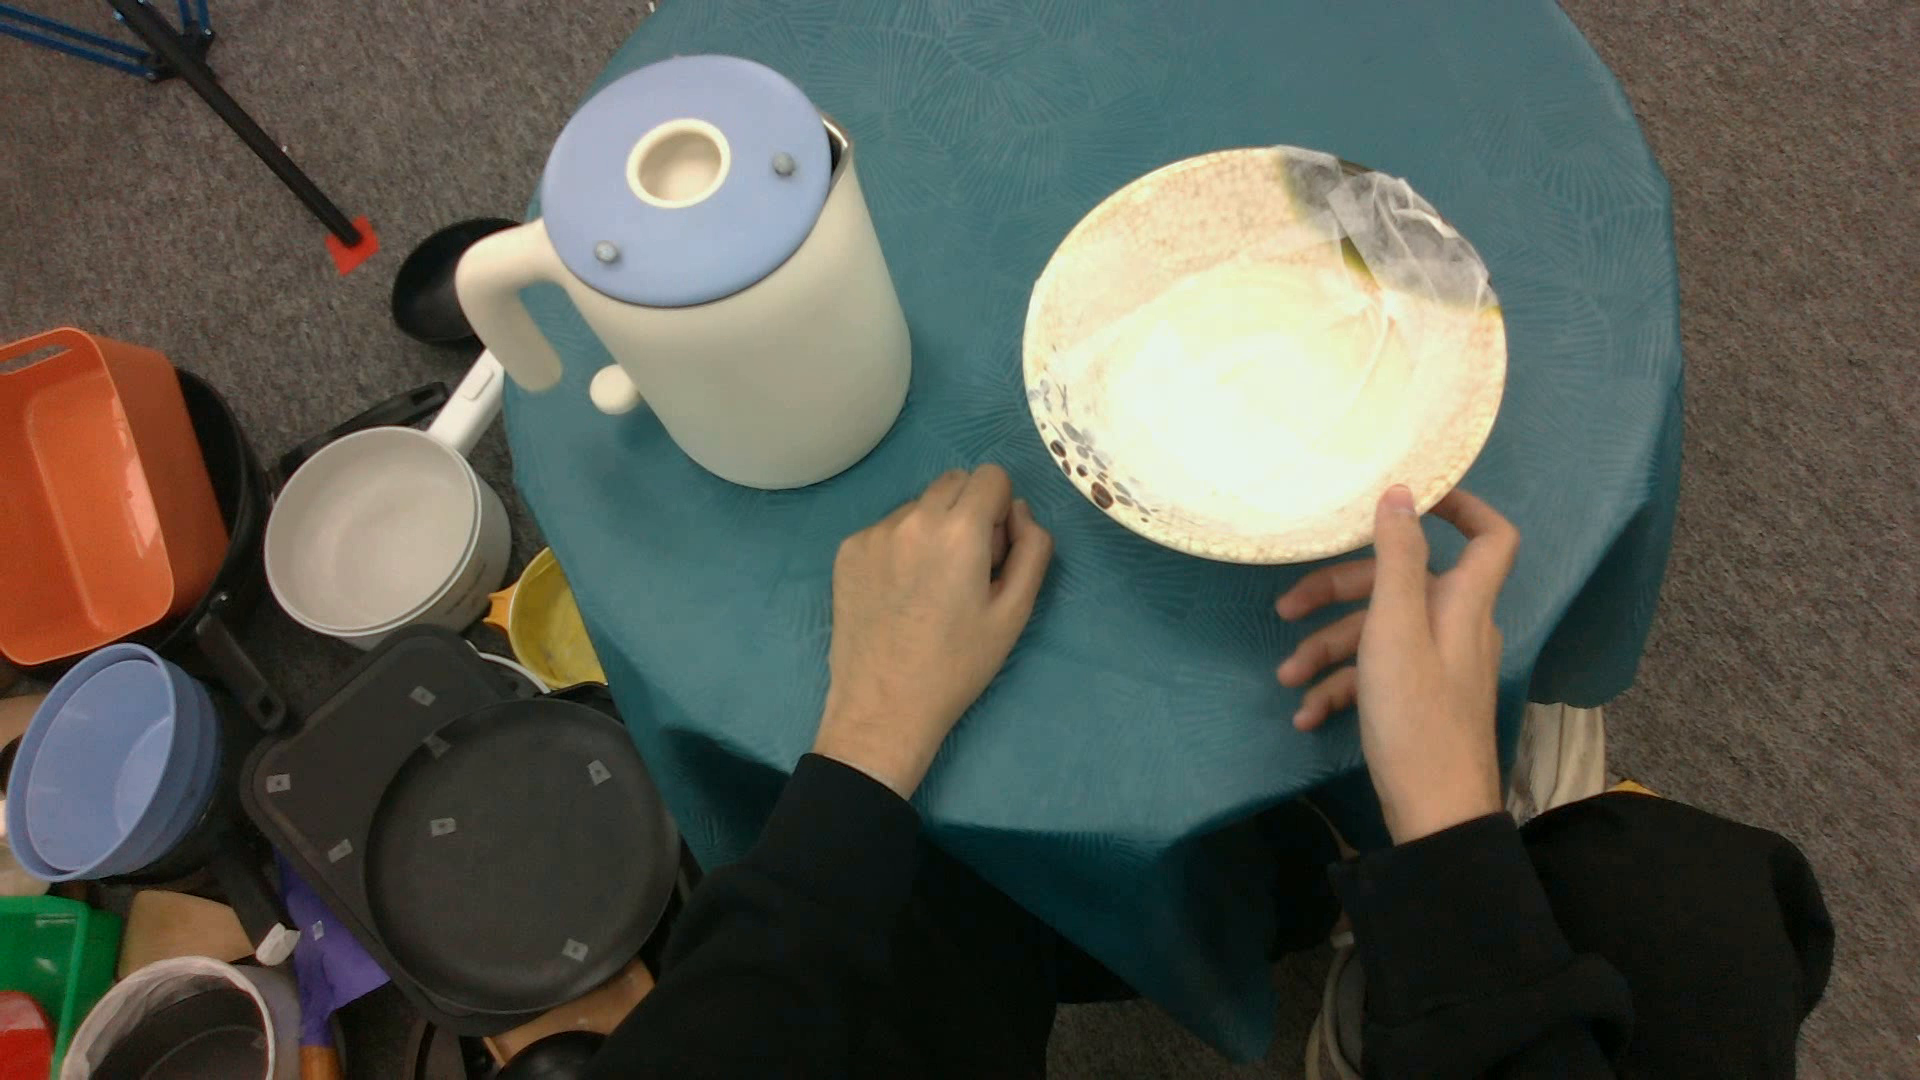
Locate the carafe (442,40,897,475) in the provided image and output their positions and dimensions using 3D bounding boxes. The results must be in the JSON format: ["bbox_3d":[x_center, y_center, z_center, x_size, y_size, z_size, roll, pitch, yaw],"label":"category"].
[{"bbox_3d":[-0.129,-0.114,0.624,0.191,0.182,0.132,-15,66,3],"label":"carafe"}]

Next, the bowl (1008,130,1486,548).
[{"bbox_3d":[0.127,-0.081,0.631,0.204,0.078,0.204,-3,70,7],"label":"bowl"}]
